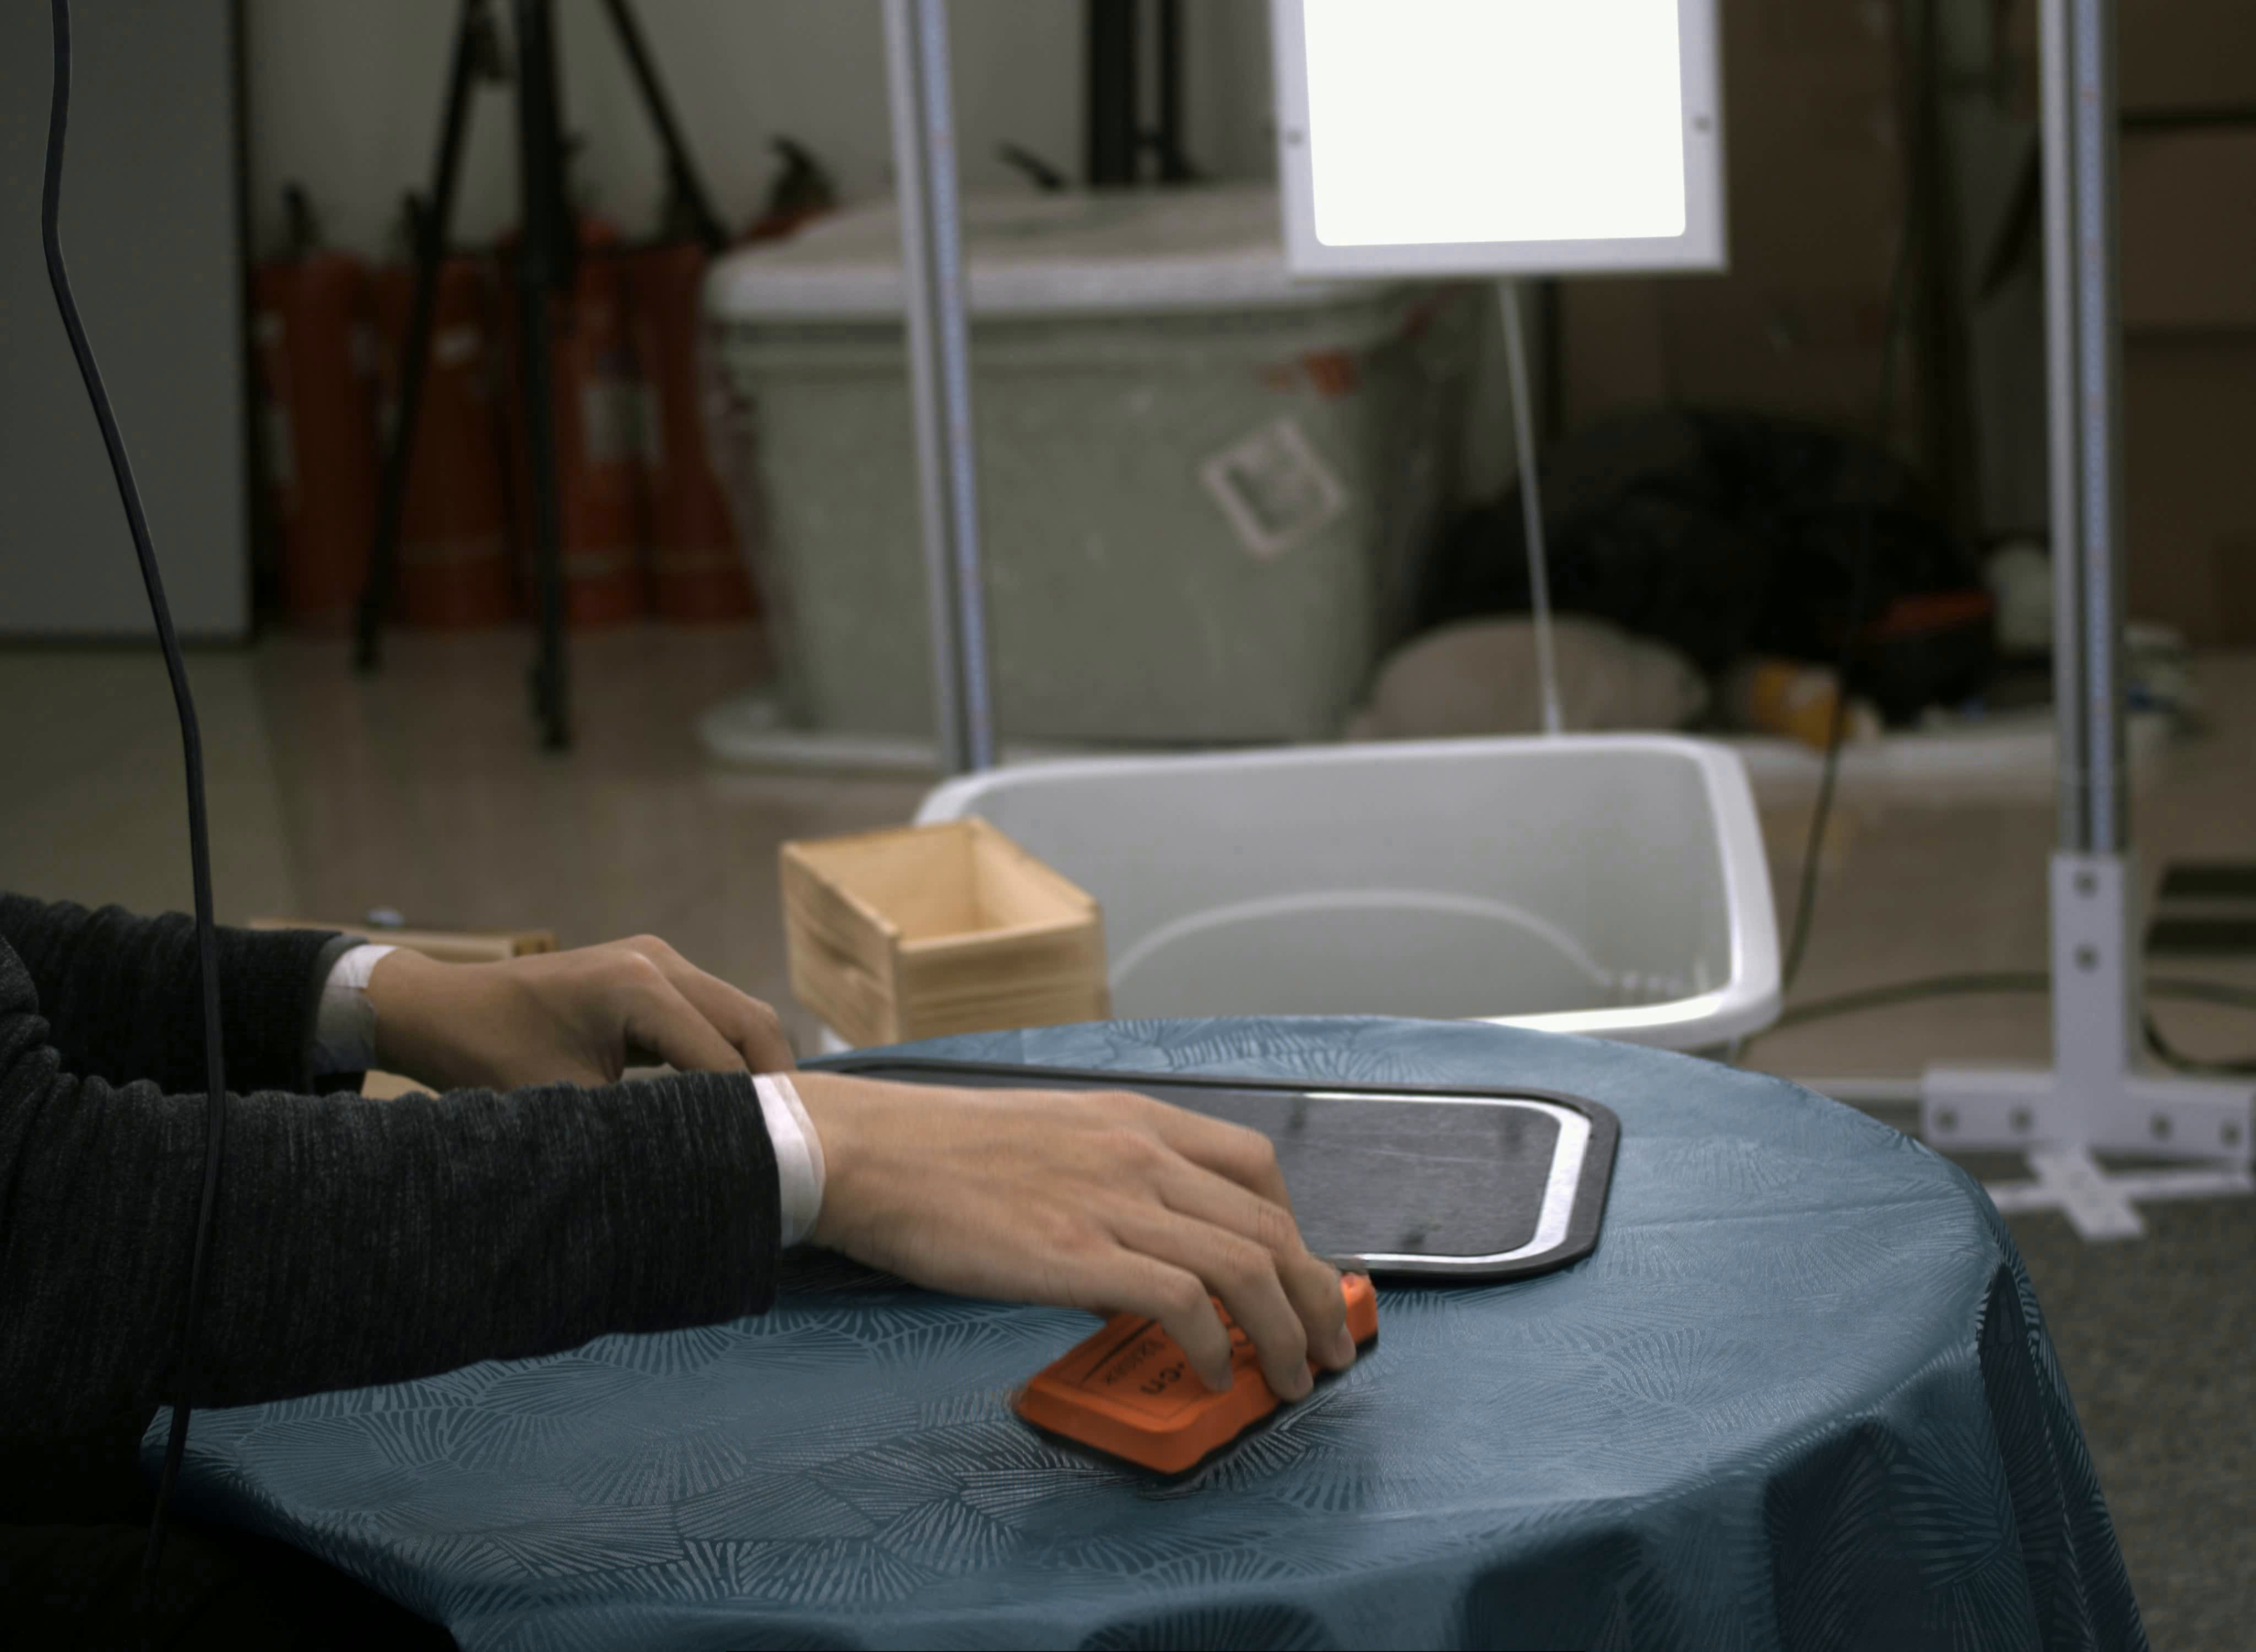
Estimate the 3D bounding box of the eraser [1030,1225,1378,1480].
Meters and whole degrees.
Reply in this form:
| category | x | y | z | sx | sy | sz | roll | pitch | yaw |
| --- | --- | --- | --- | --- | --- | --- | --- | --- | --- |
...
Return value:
| category | x | y | z | sx | sy | sz | roll | pitch | yaw |
| --- | --- | --- | --- | --- | --- | --- | --- | --- | --- |
| eraser | 0.023 | 0.157 | 1.650 | 0.060 | 0.023 | 0.105 | 15 | 32 | 38 |

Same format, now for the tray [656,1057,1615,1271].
| category | x | y | z | sx | sy | sz | roll | pitch | yaw |
| --- | --- | --- | --- | --- | --- | --- | --- | --- | --- |
| tray | 0.001 | 0.113 | 1.886 | 0.327 | 0.010 | 0.209 | 3 | 14 | 11 |
